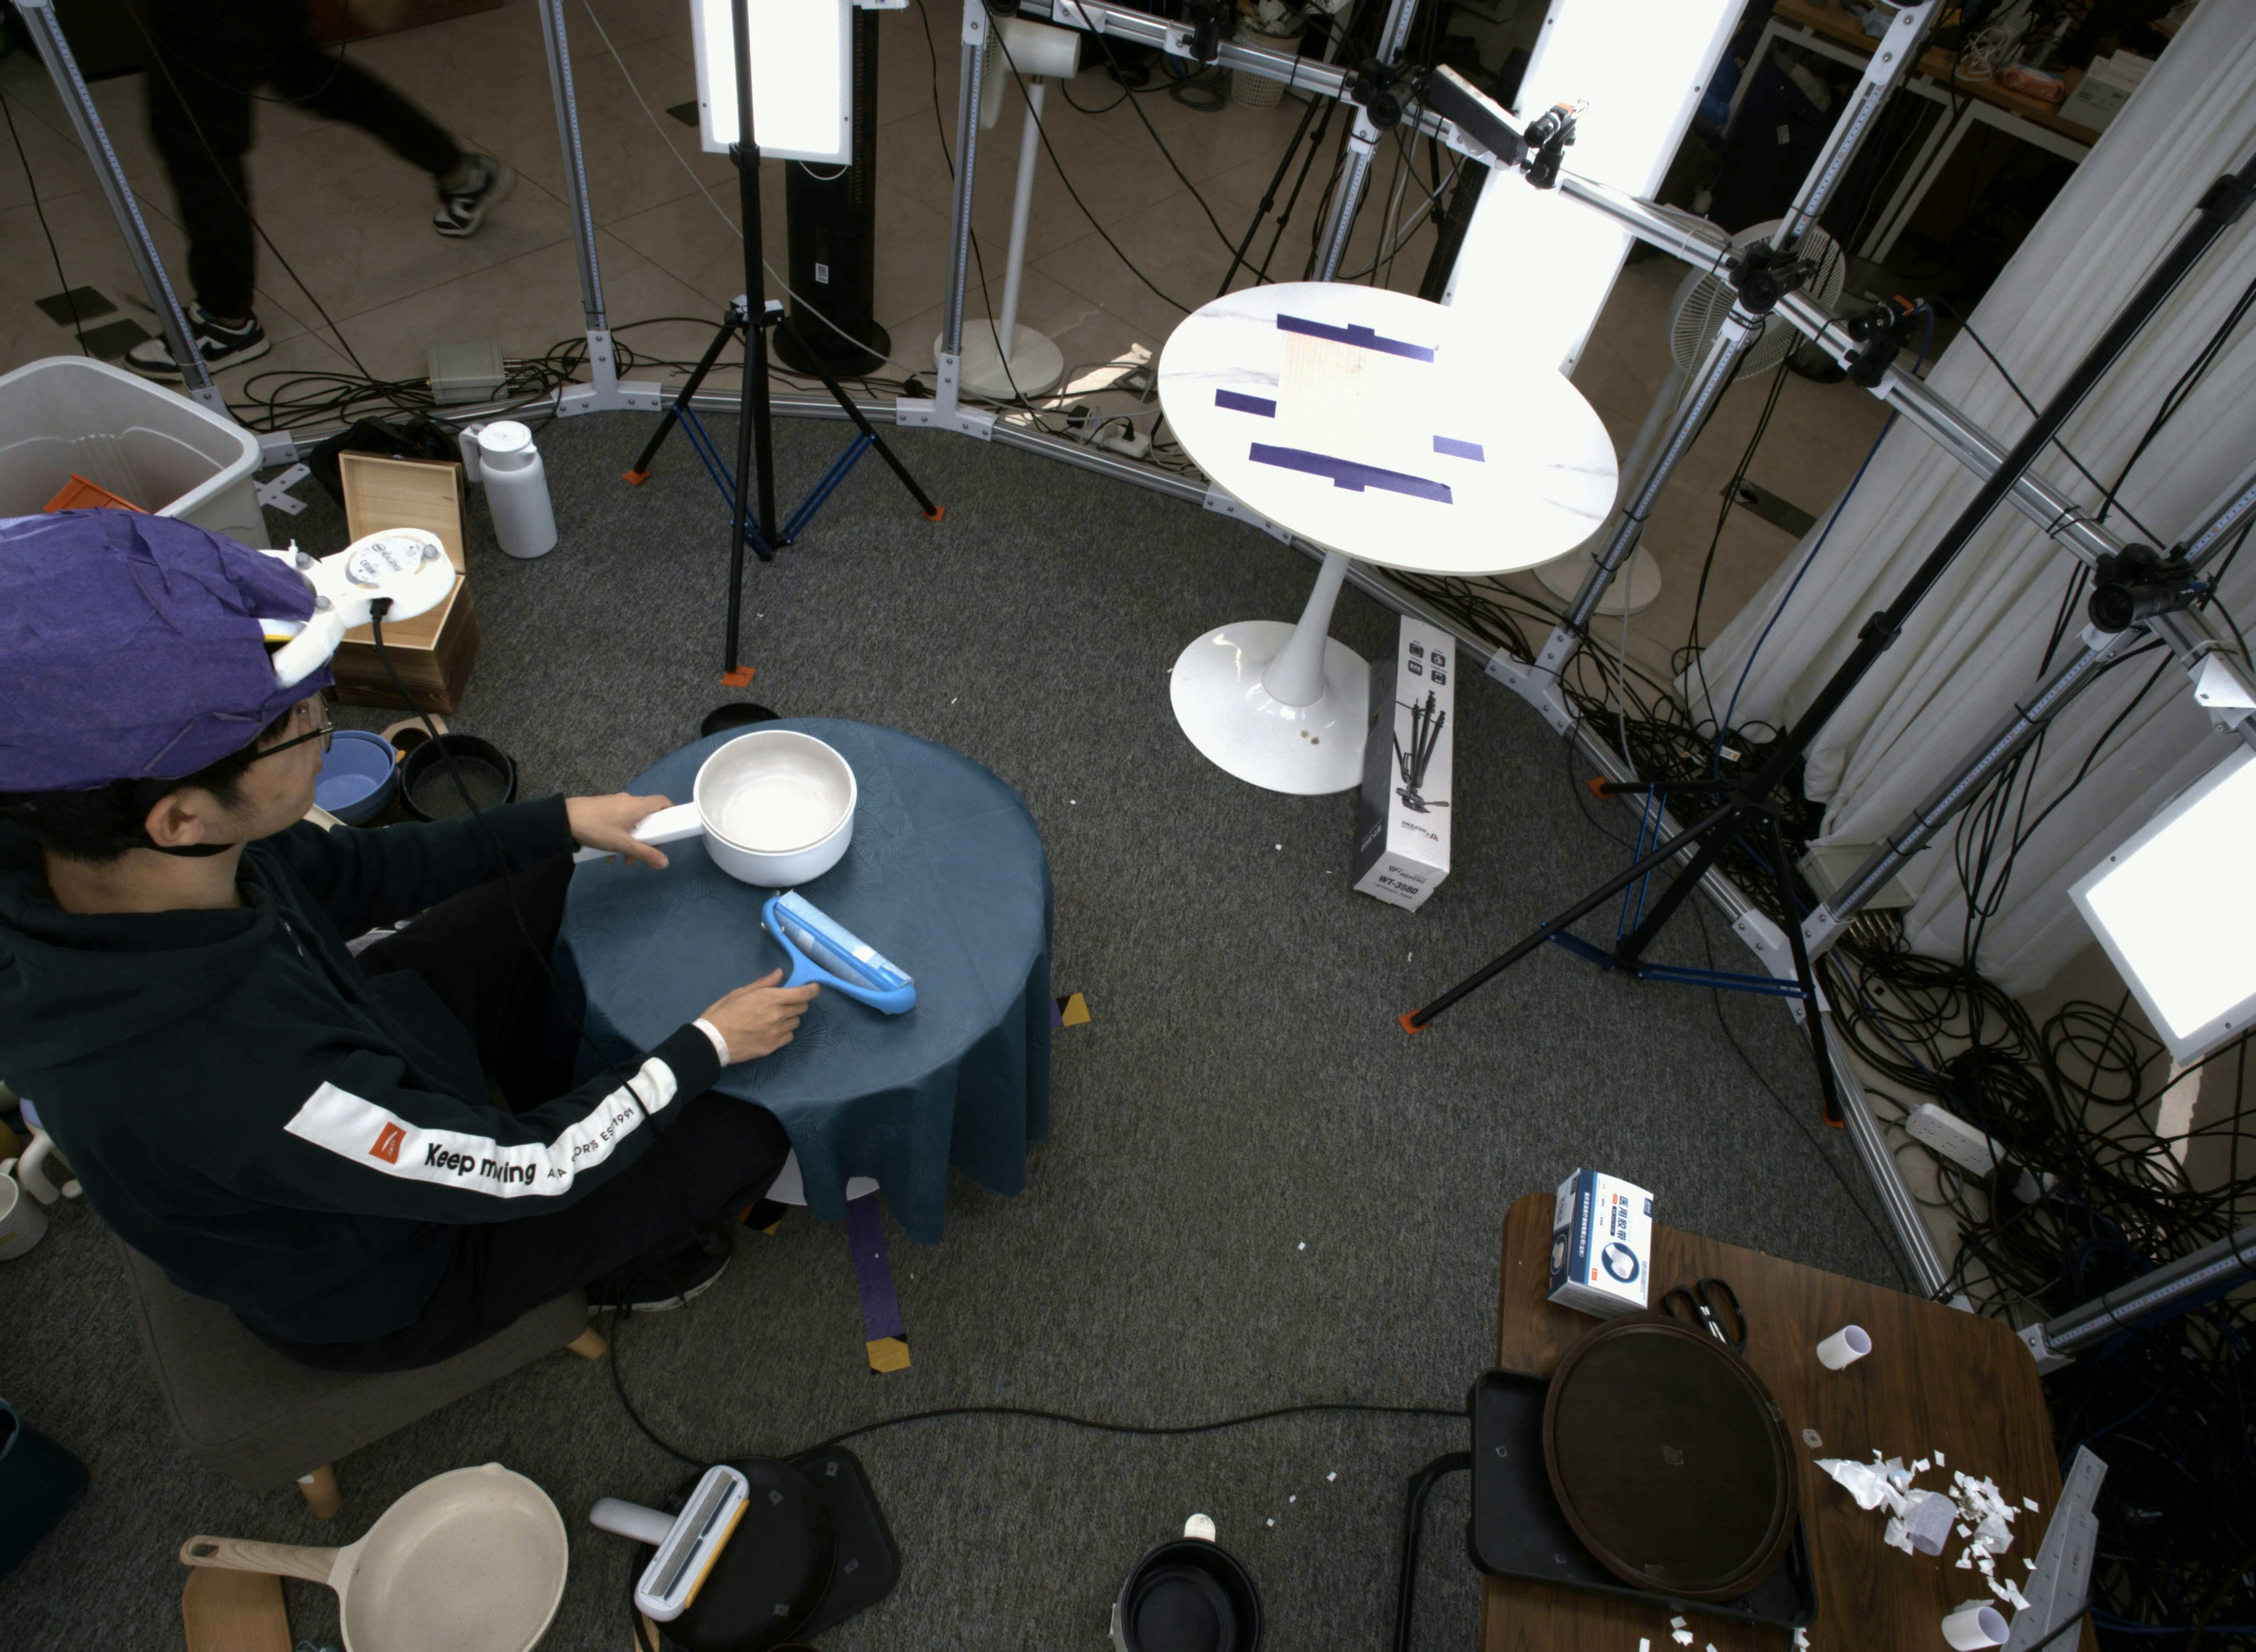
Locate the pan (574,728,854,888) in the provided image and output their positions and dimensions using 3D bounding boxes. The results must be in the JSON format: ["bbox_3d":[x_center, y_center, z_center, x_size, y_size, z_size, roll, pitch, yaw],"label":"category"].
[{"bbox_3d":[-0.523,0.000,1.640,0.356,0.104,0.196,-16,60,-24],"label":"pan"}]

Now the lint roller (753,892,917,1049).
[{"bbox_3d":[-0.385,0.188,1.565,0.225,0.069,0.180,32,52,8],"label":"lint roller"}]
